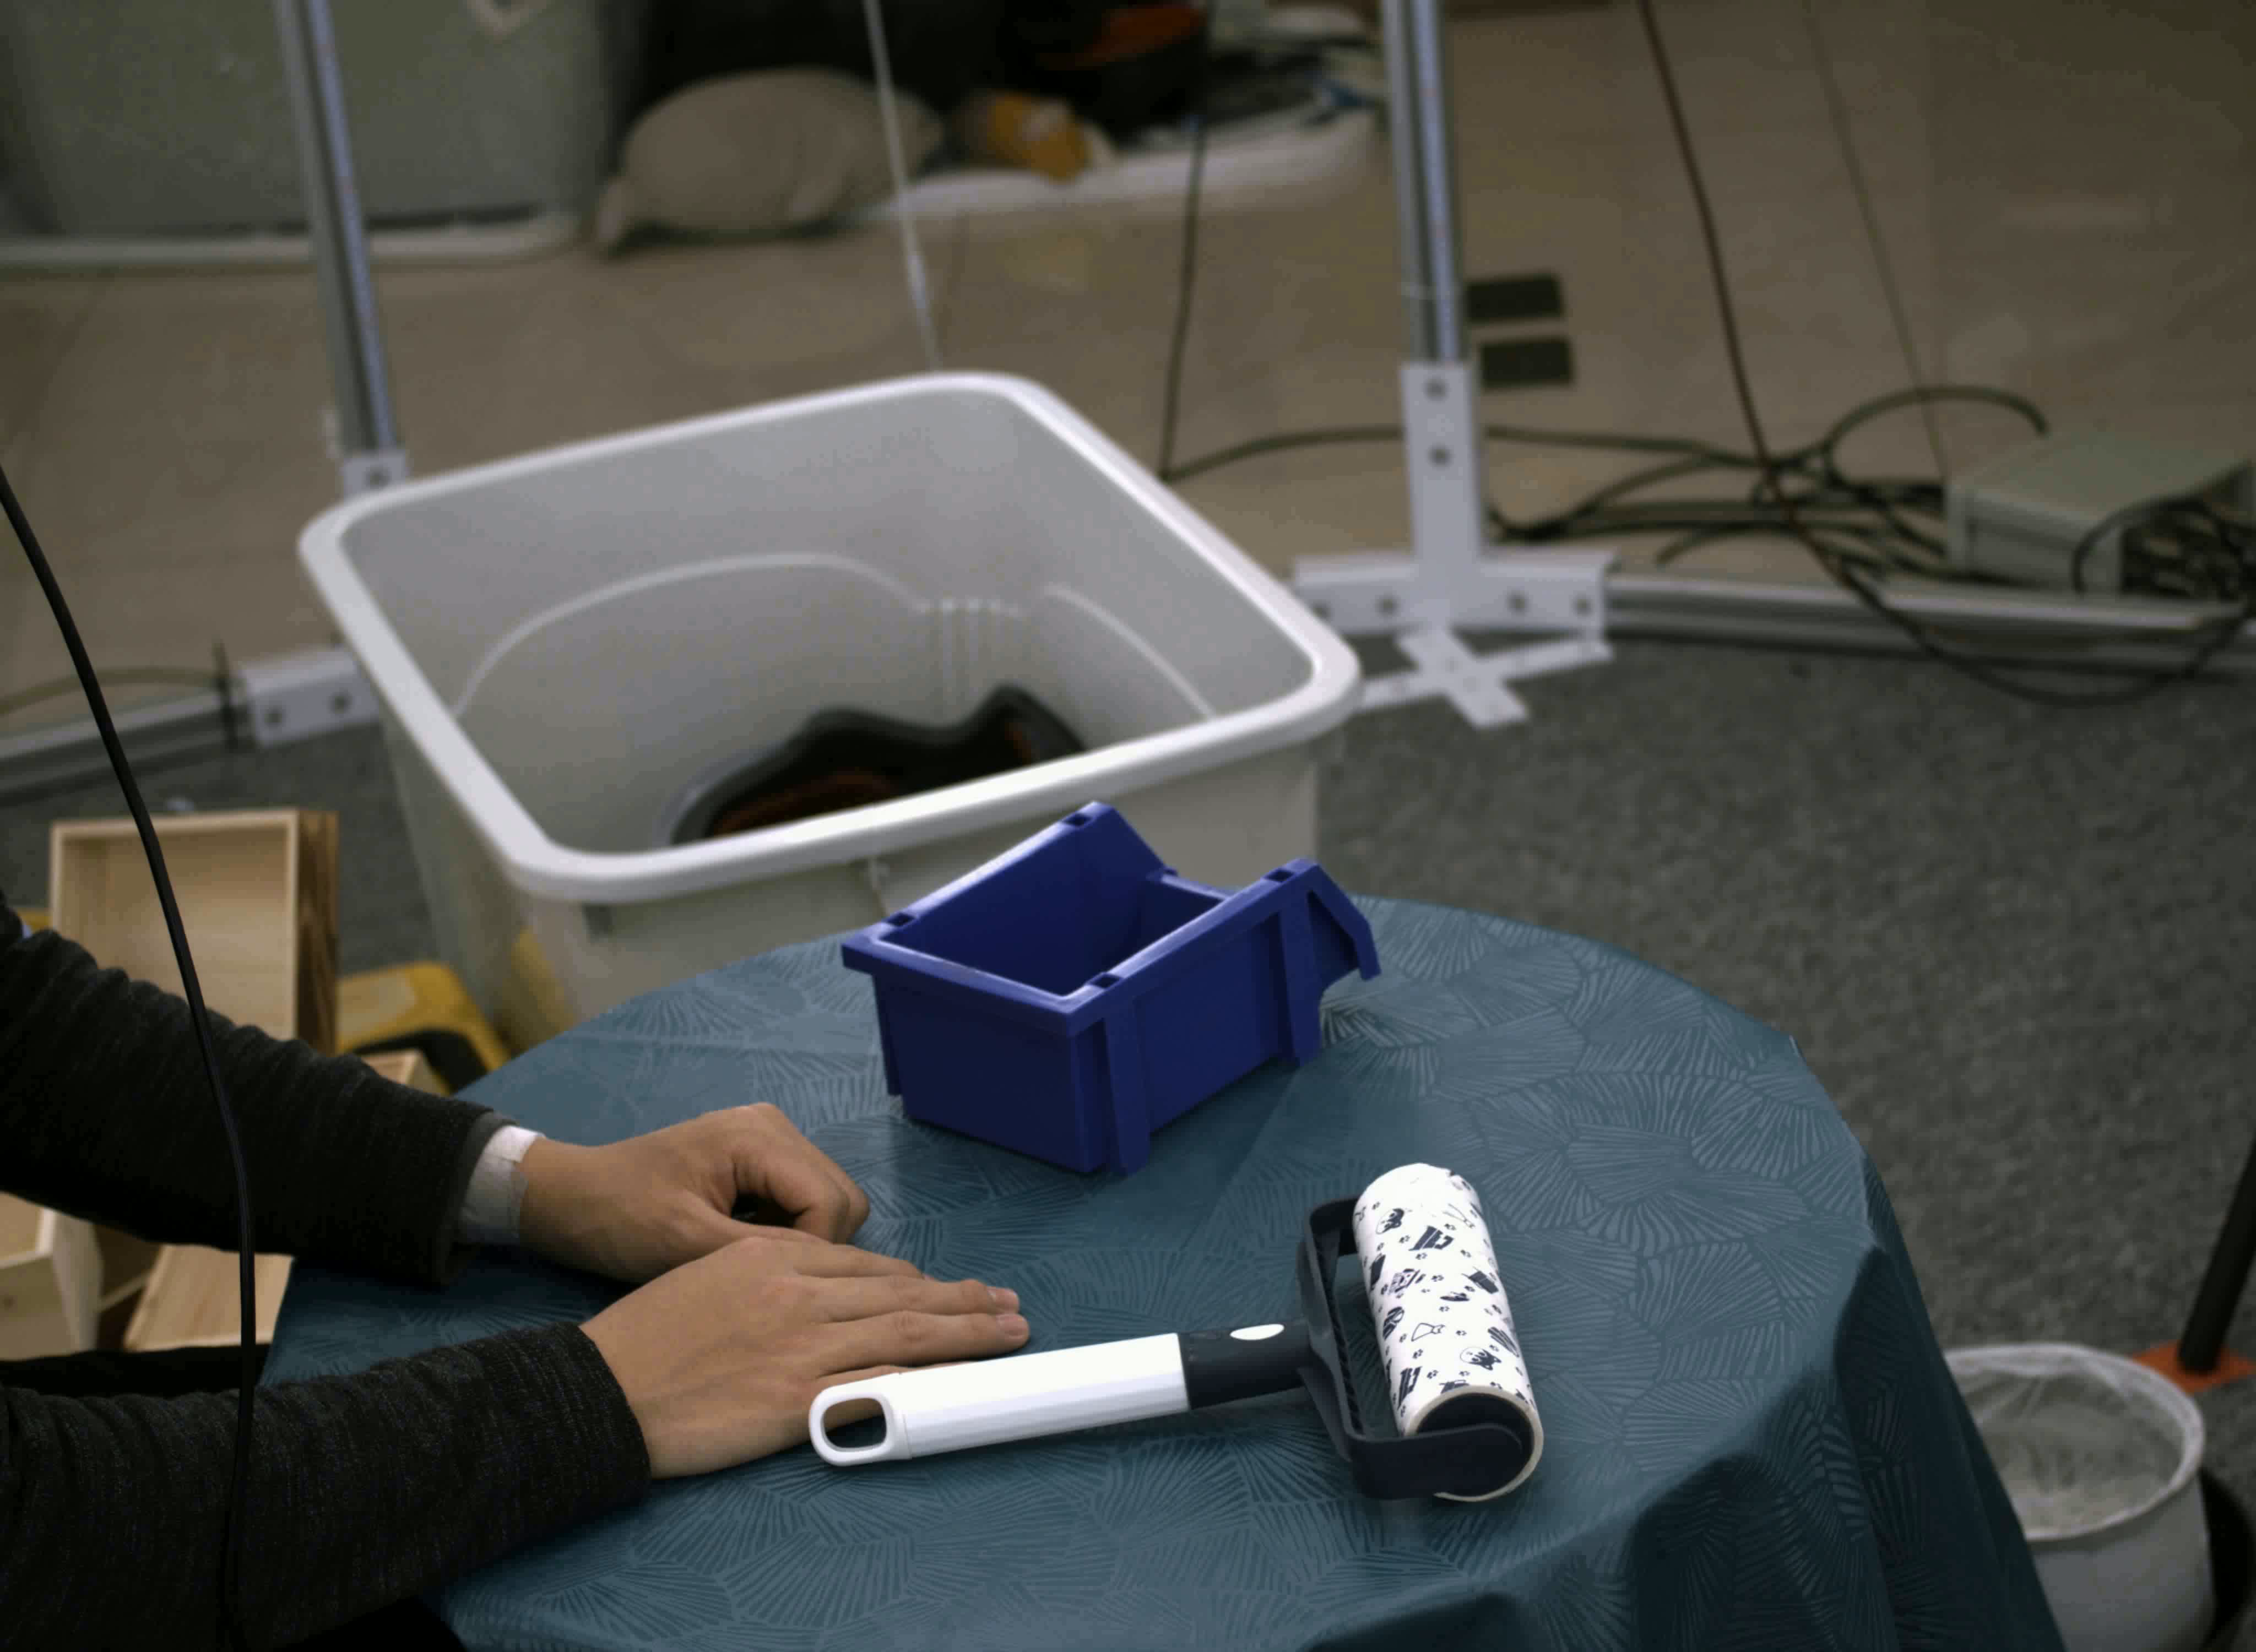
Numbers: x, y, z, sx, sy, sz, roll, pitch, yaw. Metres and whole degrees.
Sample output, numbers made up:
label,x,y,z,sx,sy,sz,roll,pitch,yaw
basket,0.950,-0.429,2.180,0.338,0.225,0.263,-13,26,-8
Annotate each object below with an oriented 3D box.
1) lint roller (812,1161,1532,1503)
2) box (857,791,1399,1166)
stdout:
label,x,y,z,sx,sy,sz,roll,pitch,yaw
lint roller,0.010,0.191,1.984,0.246,0.051,0.173,-8,26,-1
box,0.001,0.055,2.229,0.123,0.083,0.177,16,36,40
